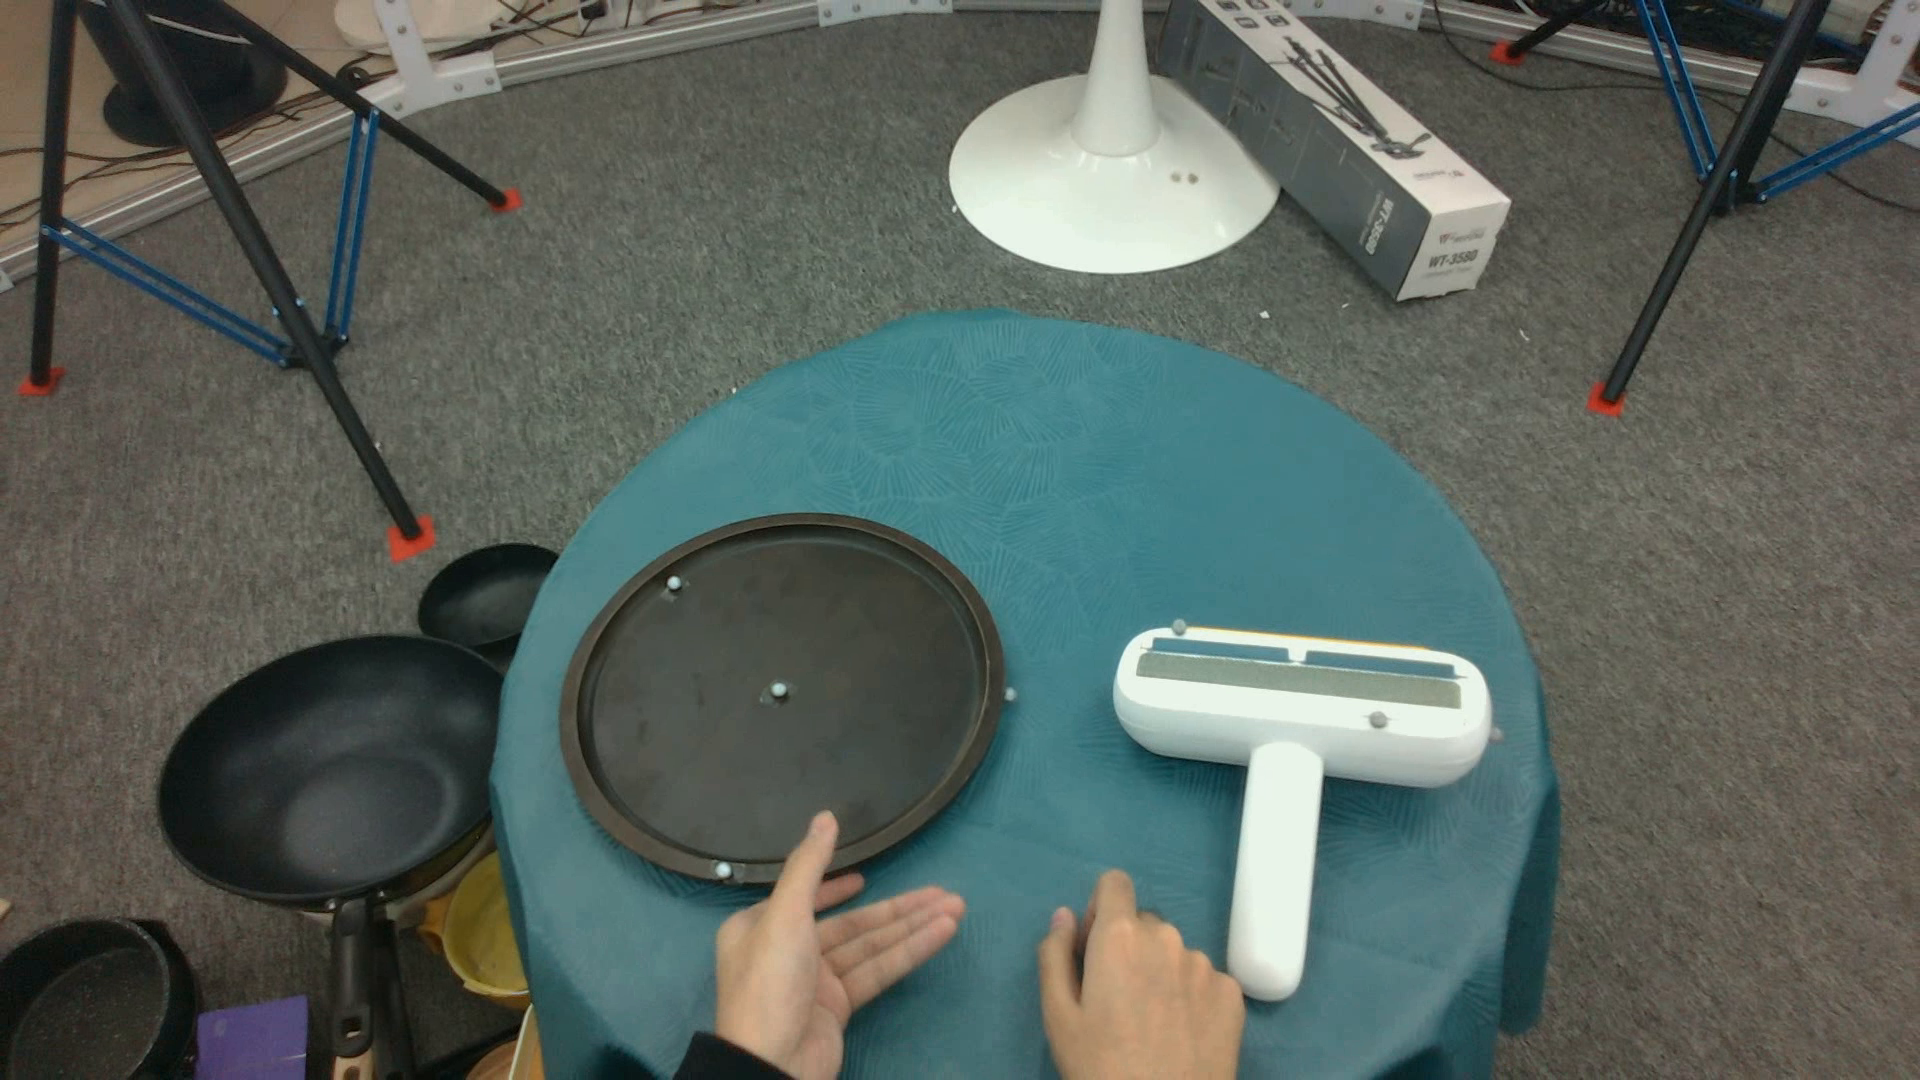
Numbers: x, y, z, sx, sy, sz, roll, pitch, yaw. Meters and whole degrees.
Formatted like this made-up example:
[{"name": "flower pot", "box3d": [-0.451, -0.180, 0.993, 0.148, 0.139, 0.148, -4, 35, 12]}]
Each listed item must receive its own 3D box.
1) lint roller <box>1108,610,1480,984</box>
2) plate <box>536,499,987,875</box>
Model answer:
[{"name": "lint roller", "box3d": [0.157, 0.129, 0.708, 0.192, 0.074, 0.193, 10, 53, 17]}, {"name": "plate", "box3d": [-0.112, 0.076, 0.788, 0.255, 0.029, 0.256, 0, 51, 0]}]
